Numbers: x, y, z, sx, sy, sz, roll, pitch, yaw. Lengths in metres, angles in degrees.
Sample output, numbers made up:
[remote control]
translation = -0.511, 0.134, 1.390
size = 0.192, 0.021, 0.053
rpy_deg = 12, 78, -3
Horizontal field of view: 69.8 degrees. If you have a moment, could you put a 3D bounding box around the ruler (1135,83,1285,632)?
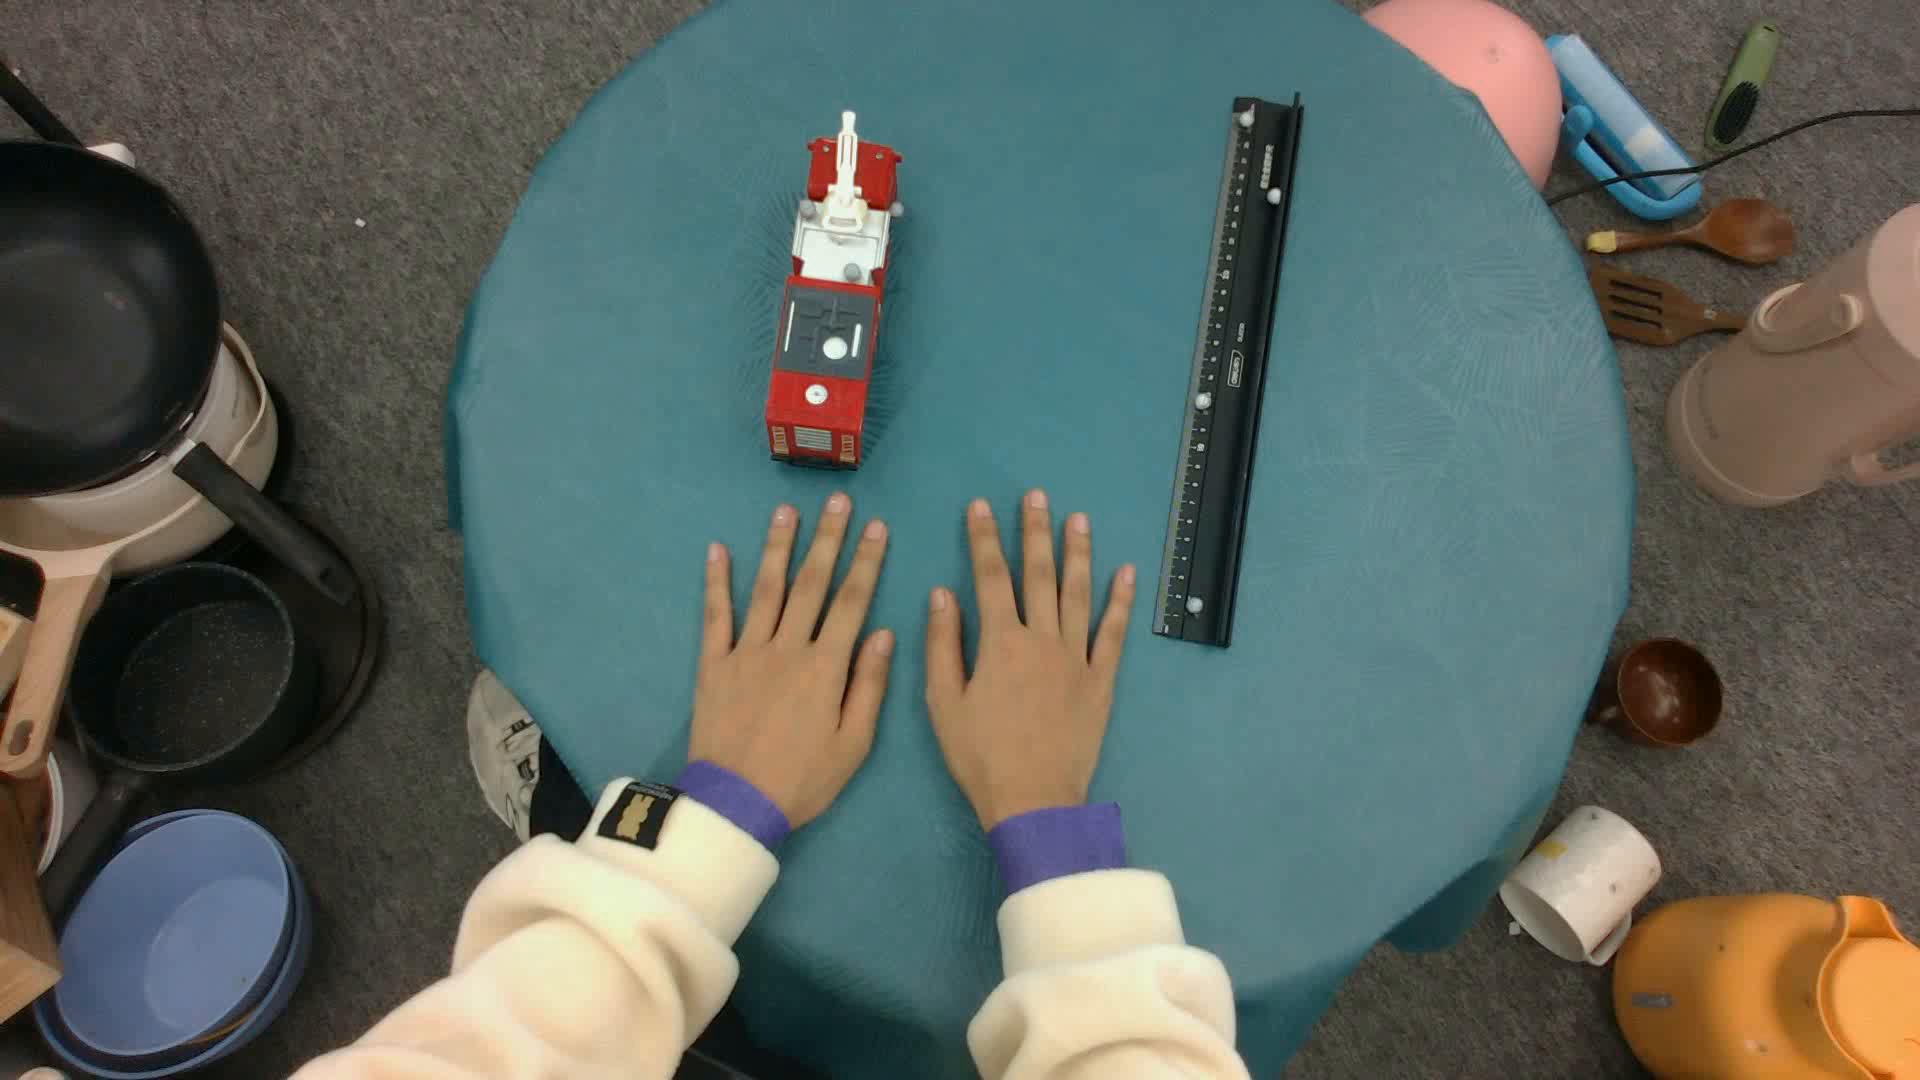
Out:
[ruler]
translation = 0.133, -0.106, 0.714
size = 0.039, 0.017, 0.313
rpy_deg = 11, 72, 3

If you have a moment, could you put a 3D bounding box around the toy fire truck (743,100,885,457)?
[toy fire truck]
translation = -0.072, -0.127, 0.681
size = 0.054, 0.070, 0.168
rpy_deg = 8, 74, -4
